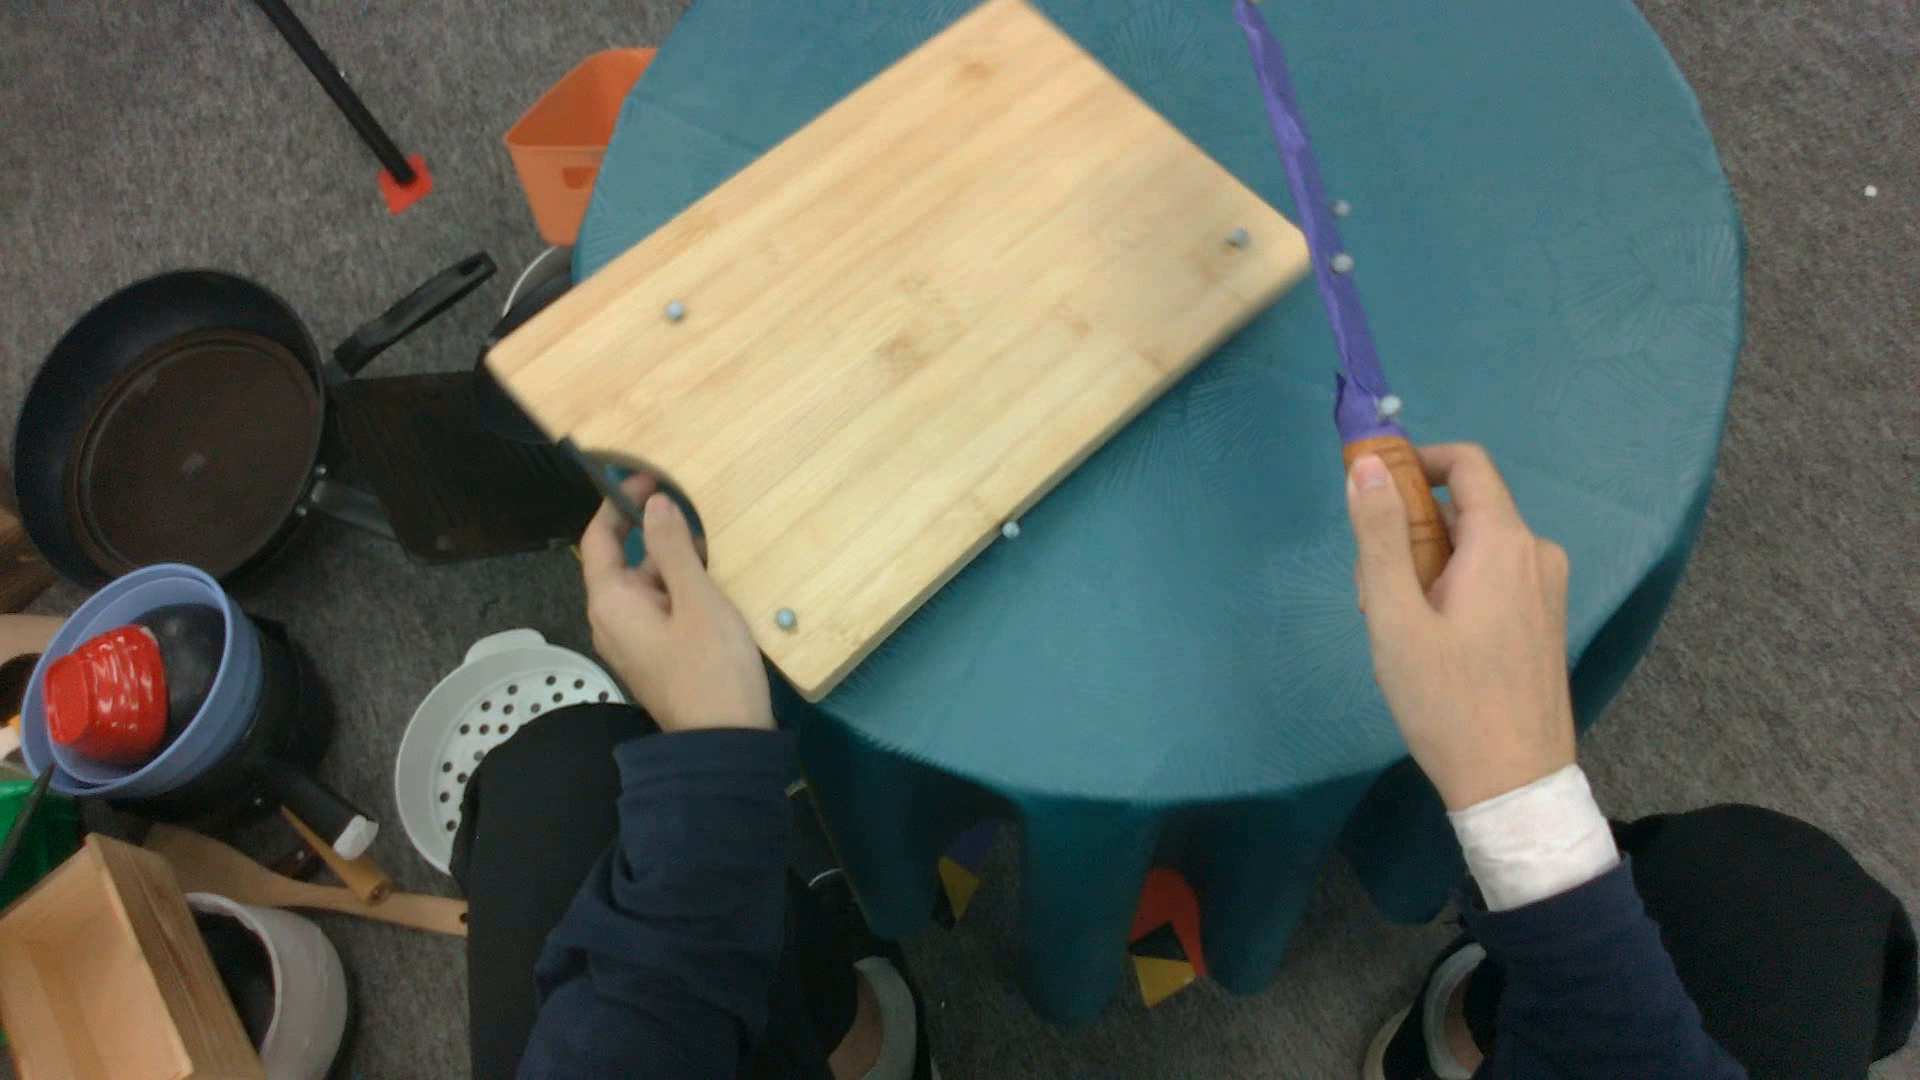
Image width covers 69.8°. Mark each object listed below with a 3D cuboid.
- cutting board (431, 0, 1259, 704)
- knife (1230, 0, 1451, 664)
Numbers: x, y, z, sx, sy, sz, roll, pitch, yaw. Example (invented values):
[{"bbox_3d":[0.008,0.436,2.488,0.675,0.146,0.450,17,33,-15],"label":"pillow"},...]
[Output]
[{"bbox_3d":[-0.050,-0.117,0.692,0.251,0.023,0.350,39,71,17],"label":"cutting board"},{"bbox_3d":[0.164,-0.101,0.590,0.032,0.104,0.316,-17,73,28],"label":"knife"}]
